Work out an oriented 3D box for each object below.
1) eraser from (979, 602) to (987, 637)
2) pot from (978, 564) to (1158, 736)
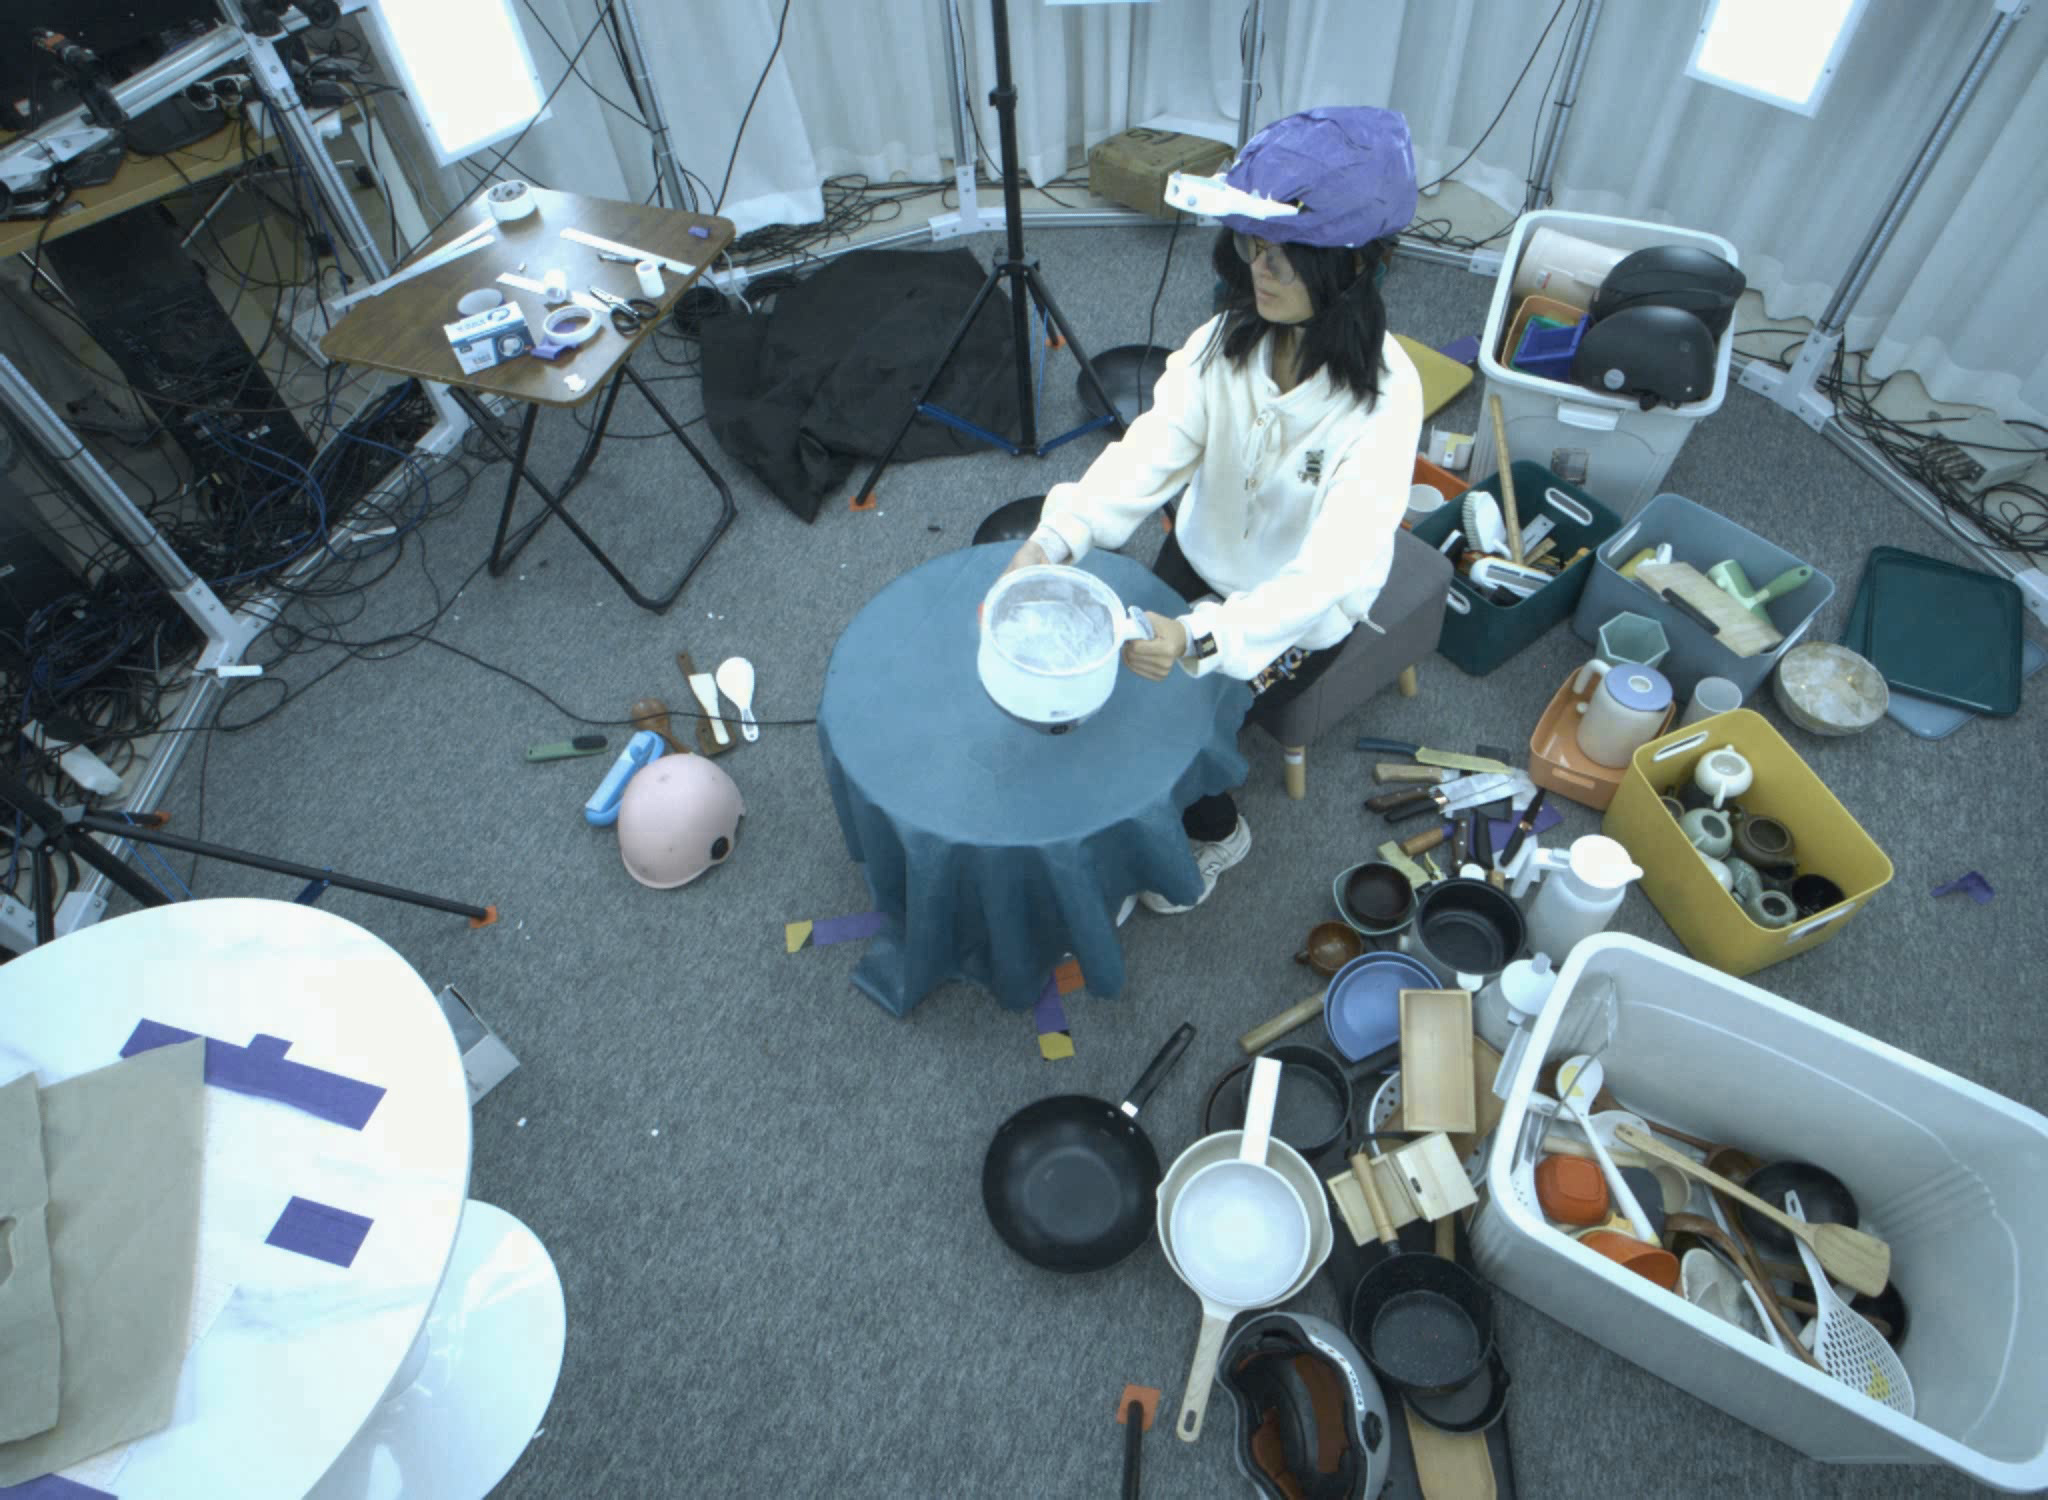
[{"bbox_3d":[-0.007,-0.181,1.636,0.109,0.059,0.022,-15,58,-13],"label":"eraser"},{"bbox_3d":[0.058,-0.129,1.550,0.236,0.137,0.176,-8,59,-11],"label":"pot"}]
